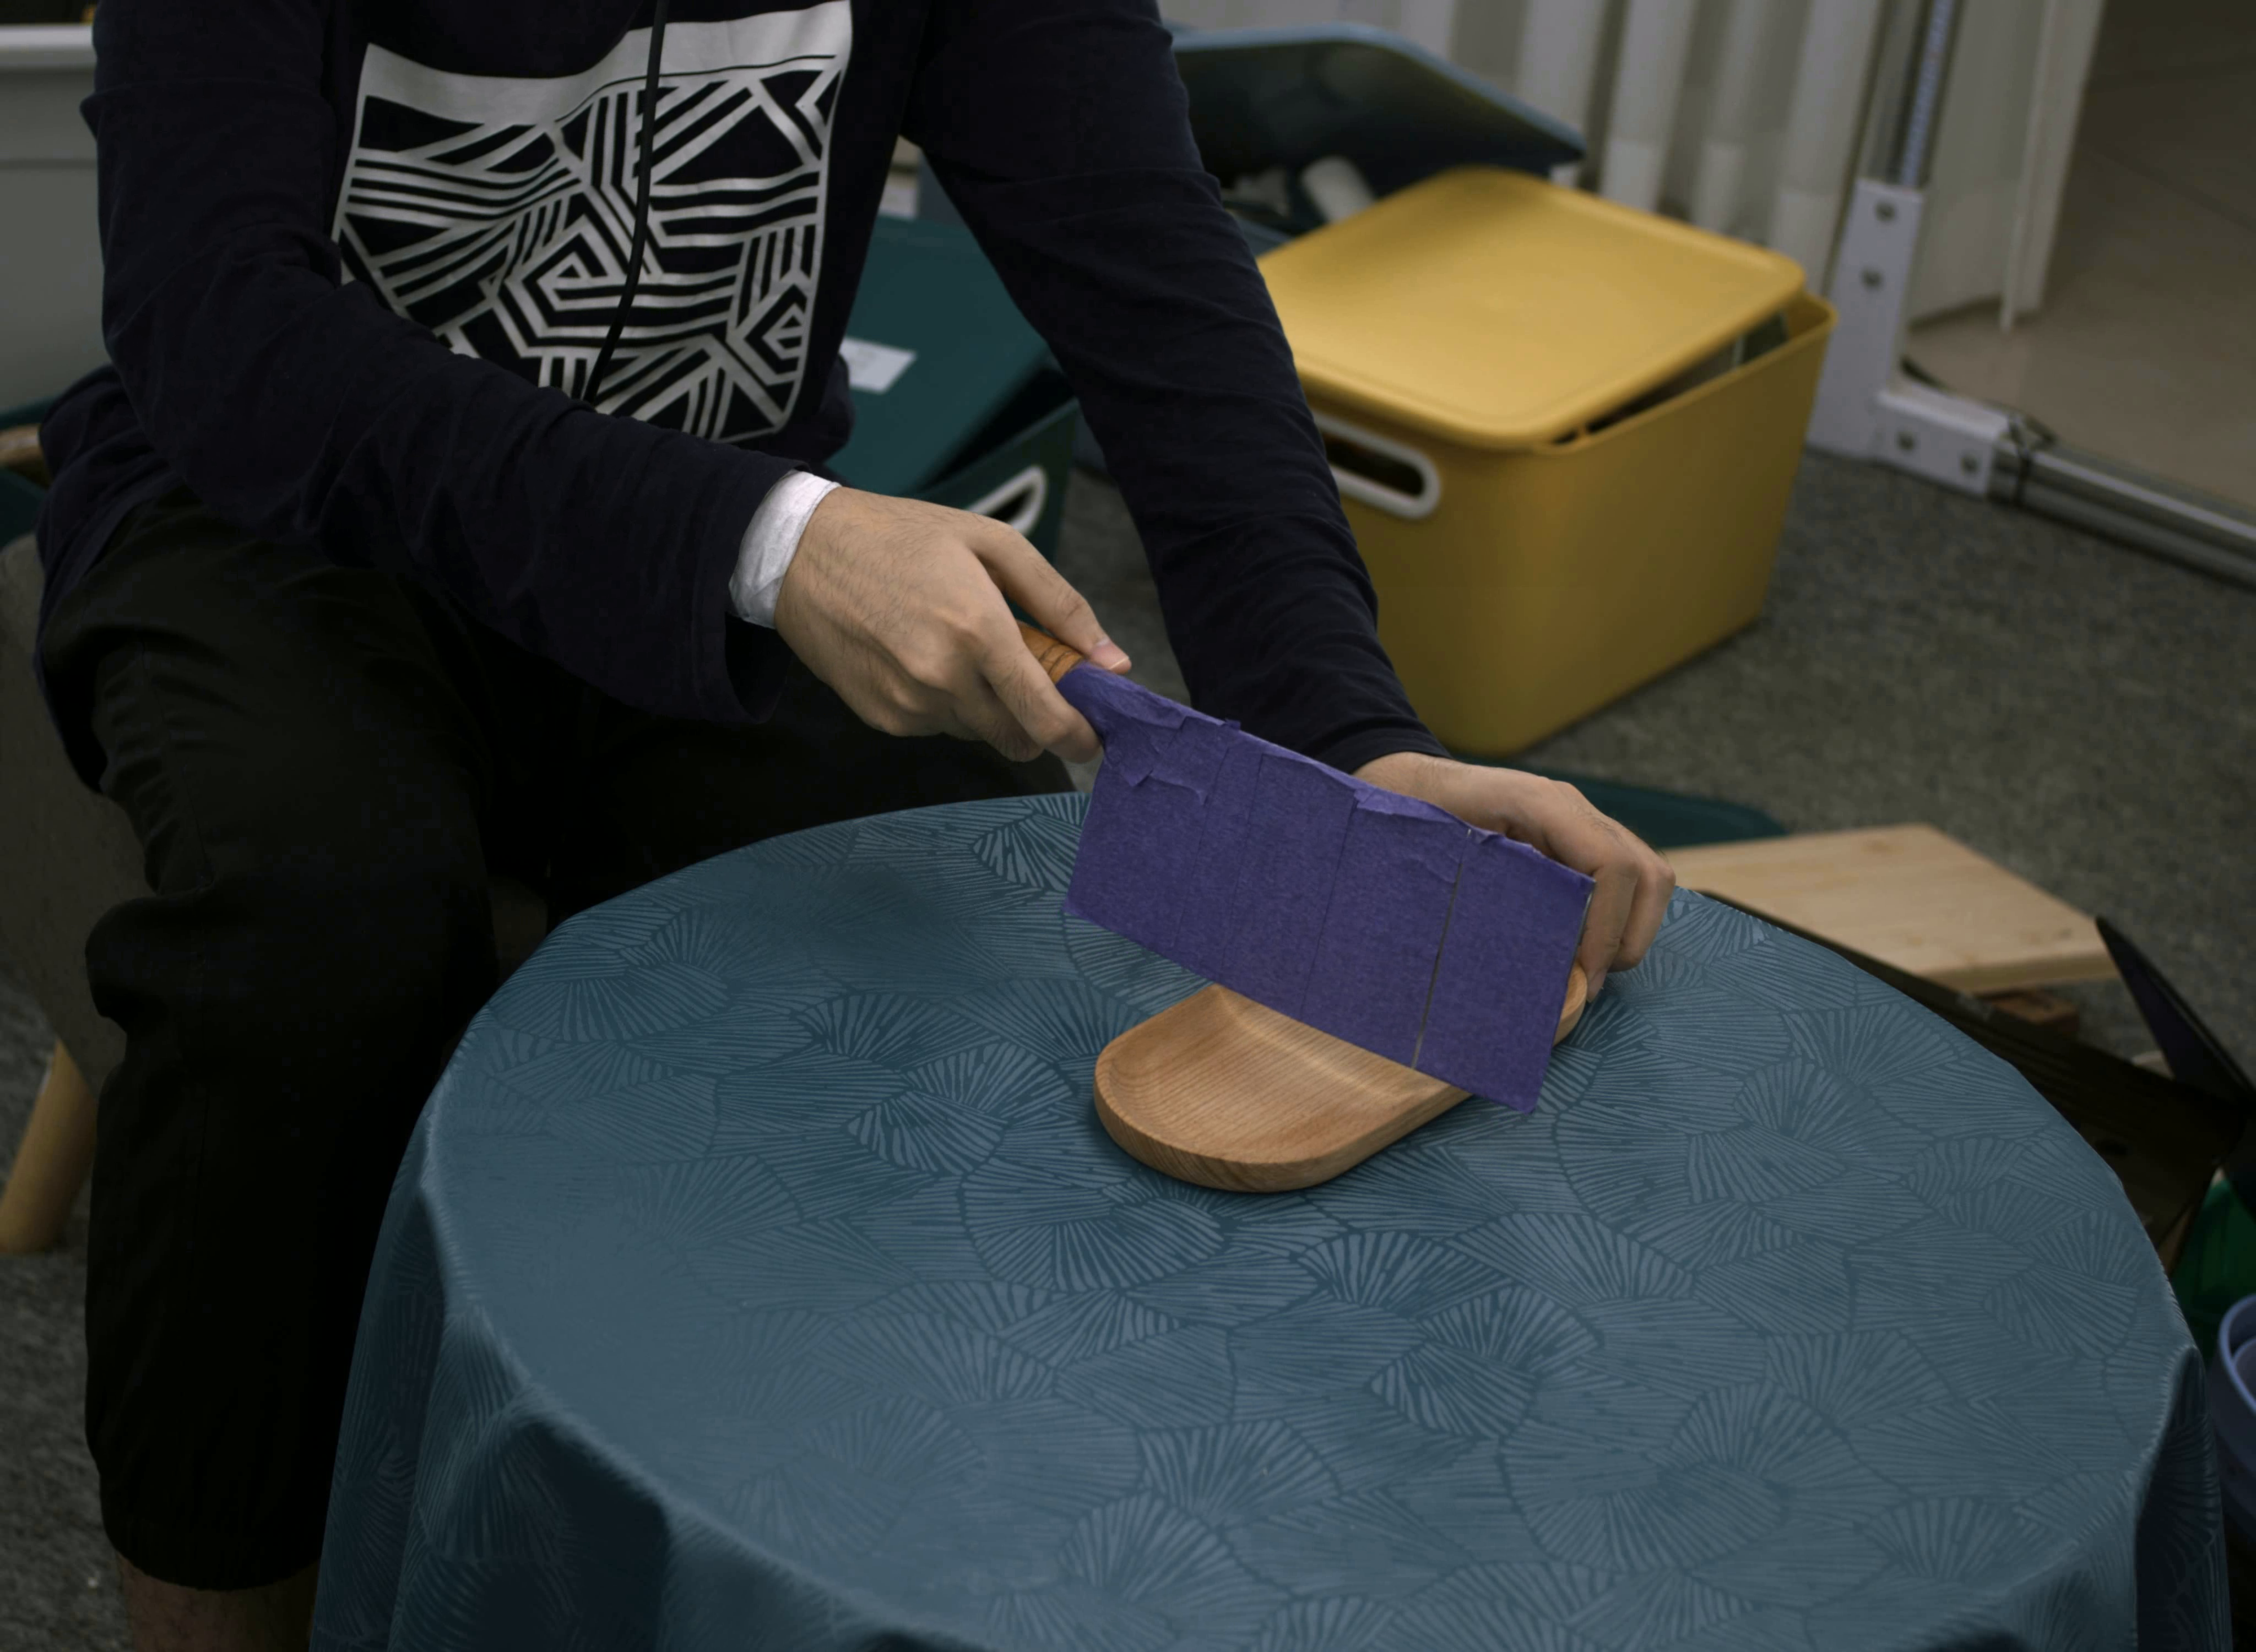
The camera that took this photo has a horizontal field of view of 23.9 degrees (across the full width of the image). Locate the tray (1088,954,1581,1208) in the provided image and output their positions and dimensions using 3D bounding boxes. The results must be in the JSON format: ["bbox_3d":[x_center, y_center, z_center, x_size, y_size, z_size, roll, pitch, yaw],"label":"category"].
[{"bbox_3d":[0.075,0.080,1.894,0.102,0.020,0.230,23,34,31],"label":"tray"}]

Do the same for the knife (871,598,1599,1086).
[{"bbox_3d":[0.026,0.006,1.901,0.317,0.104,0.032,23,14,34],"label":"knife"}]
